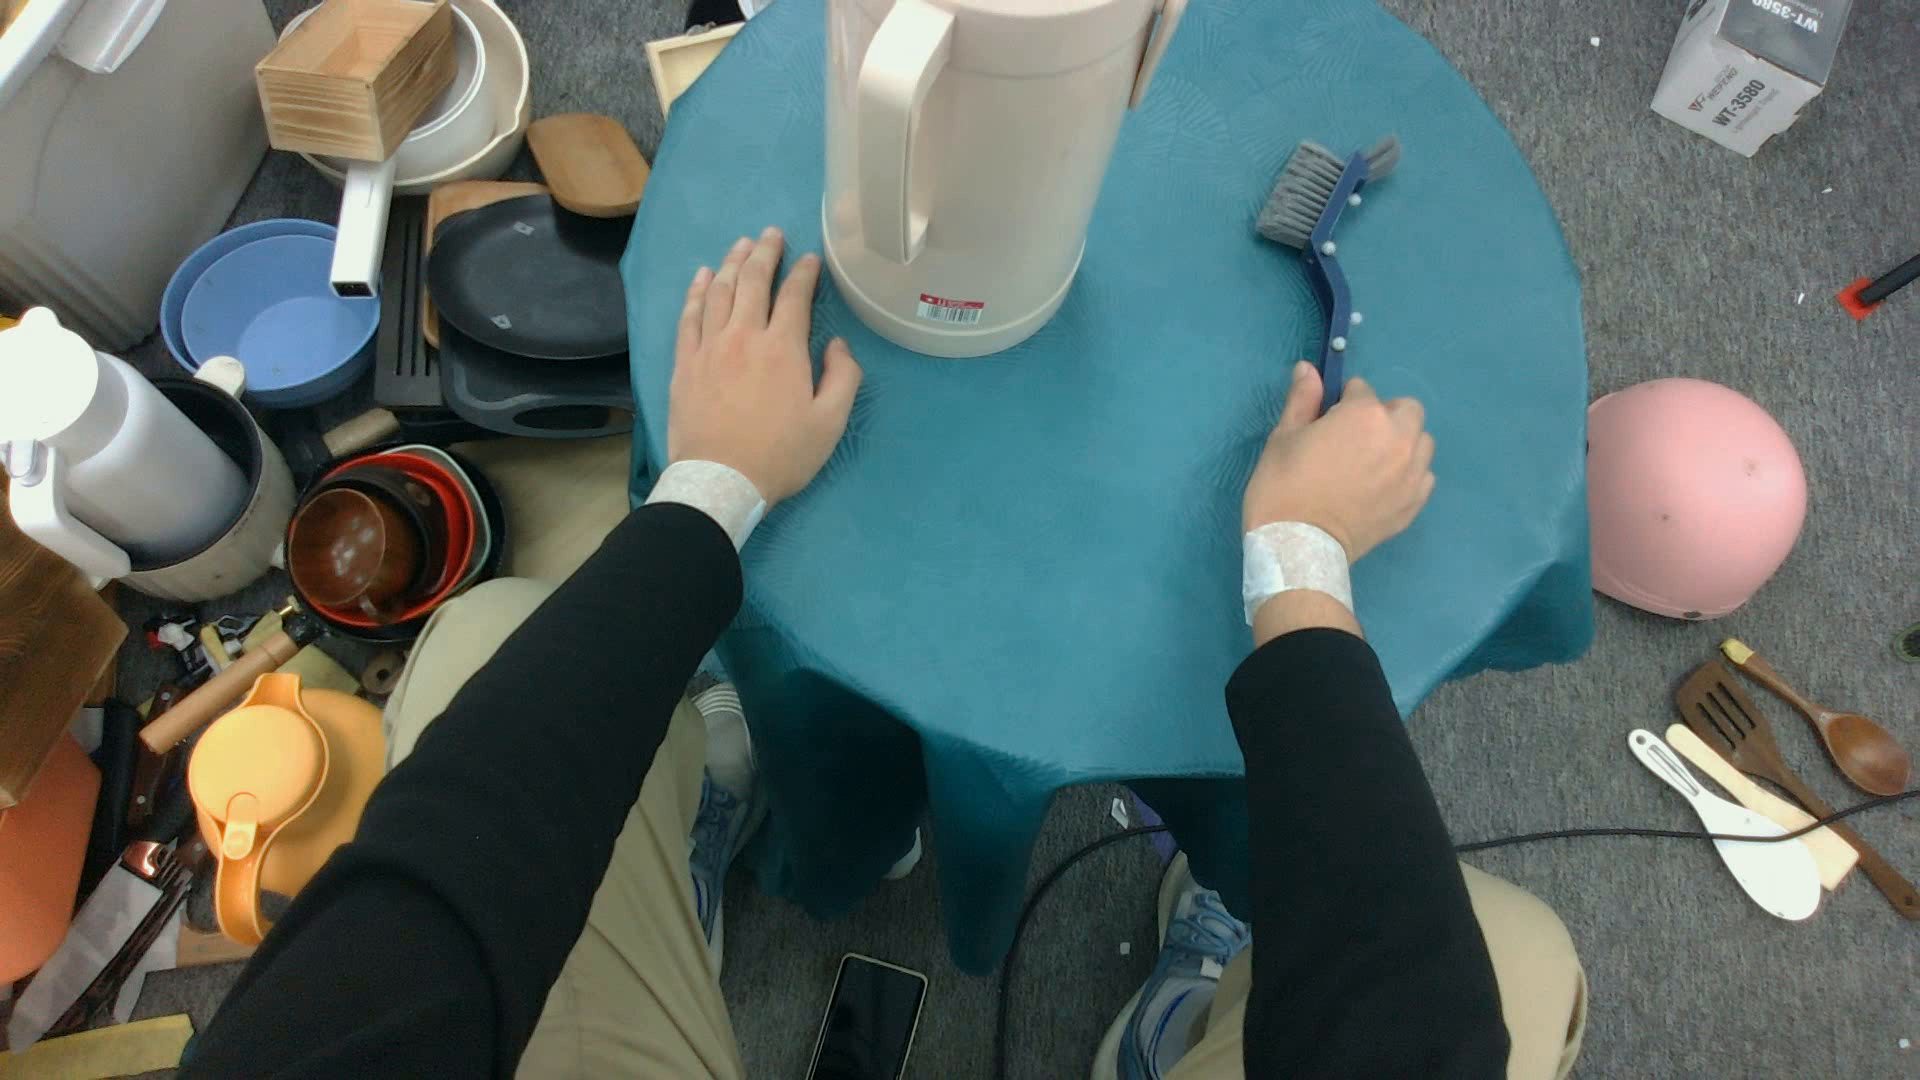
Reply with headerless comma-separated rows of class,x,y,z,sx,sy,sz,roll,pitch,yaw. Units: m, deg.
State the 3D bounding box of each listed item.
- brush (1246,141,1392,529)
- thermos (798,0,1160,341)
brush,0.224,-0.134,0.843,0.096,0.033,0.274,5,68,-4
thermos,-0.005,-0.244,0.661,0.175,0.405,0.208,26,70,1
